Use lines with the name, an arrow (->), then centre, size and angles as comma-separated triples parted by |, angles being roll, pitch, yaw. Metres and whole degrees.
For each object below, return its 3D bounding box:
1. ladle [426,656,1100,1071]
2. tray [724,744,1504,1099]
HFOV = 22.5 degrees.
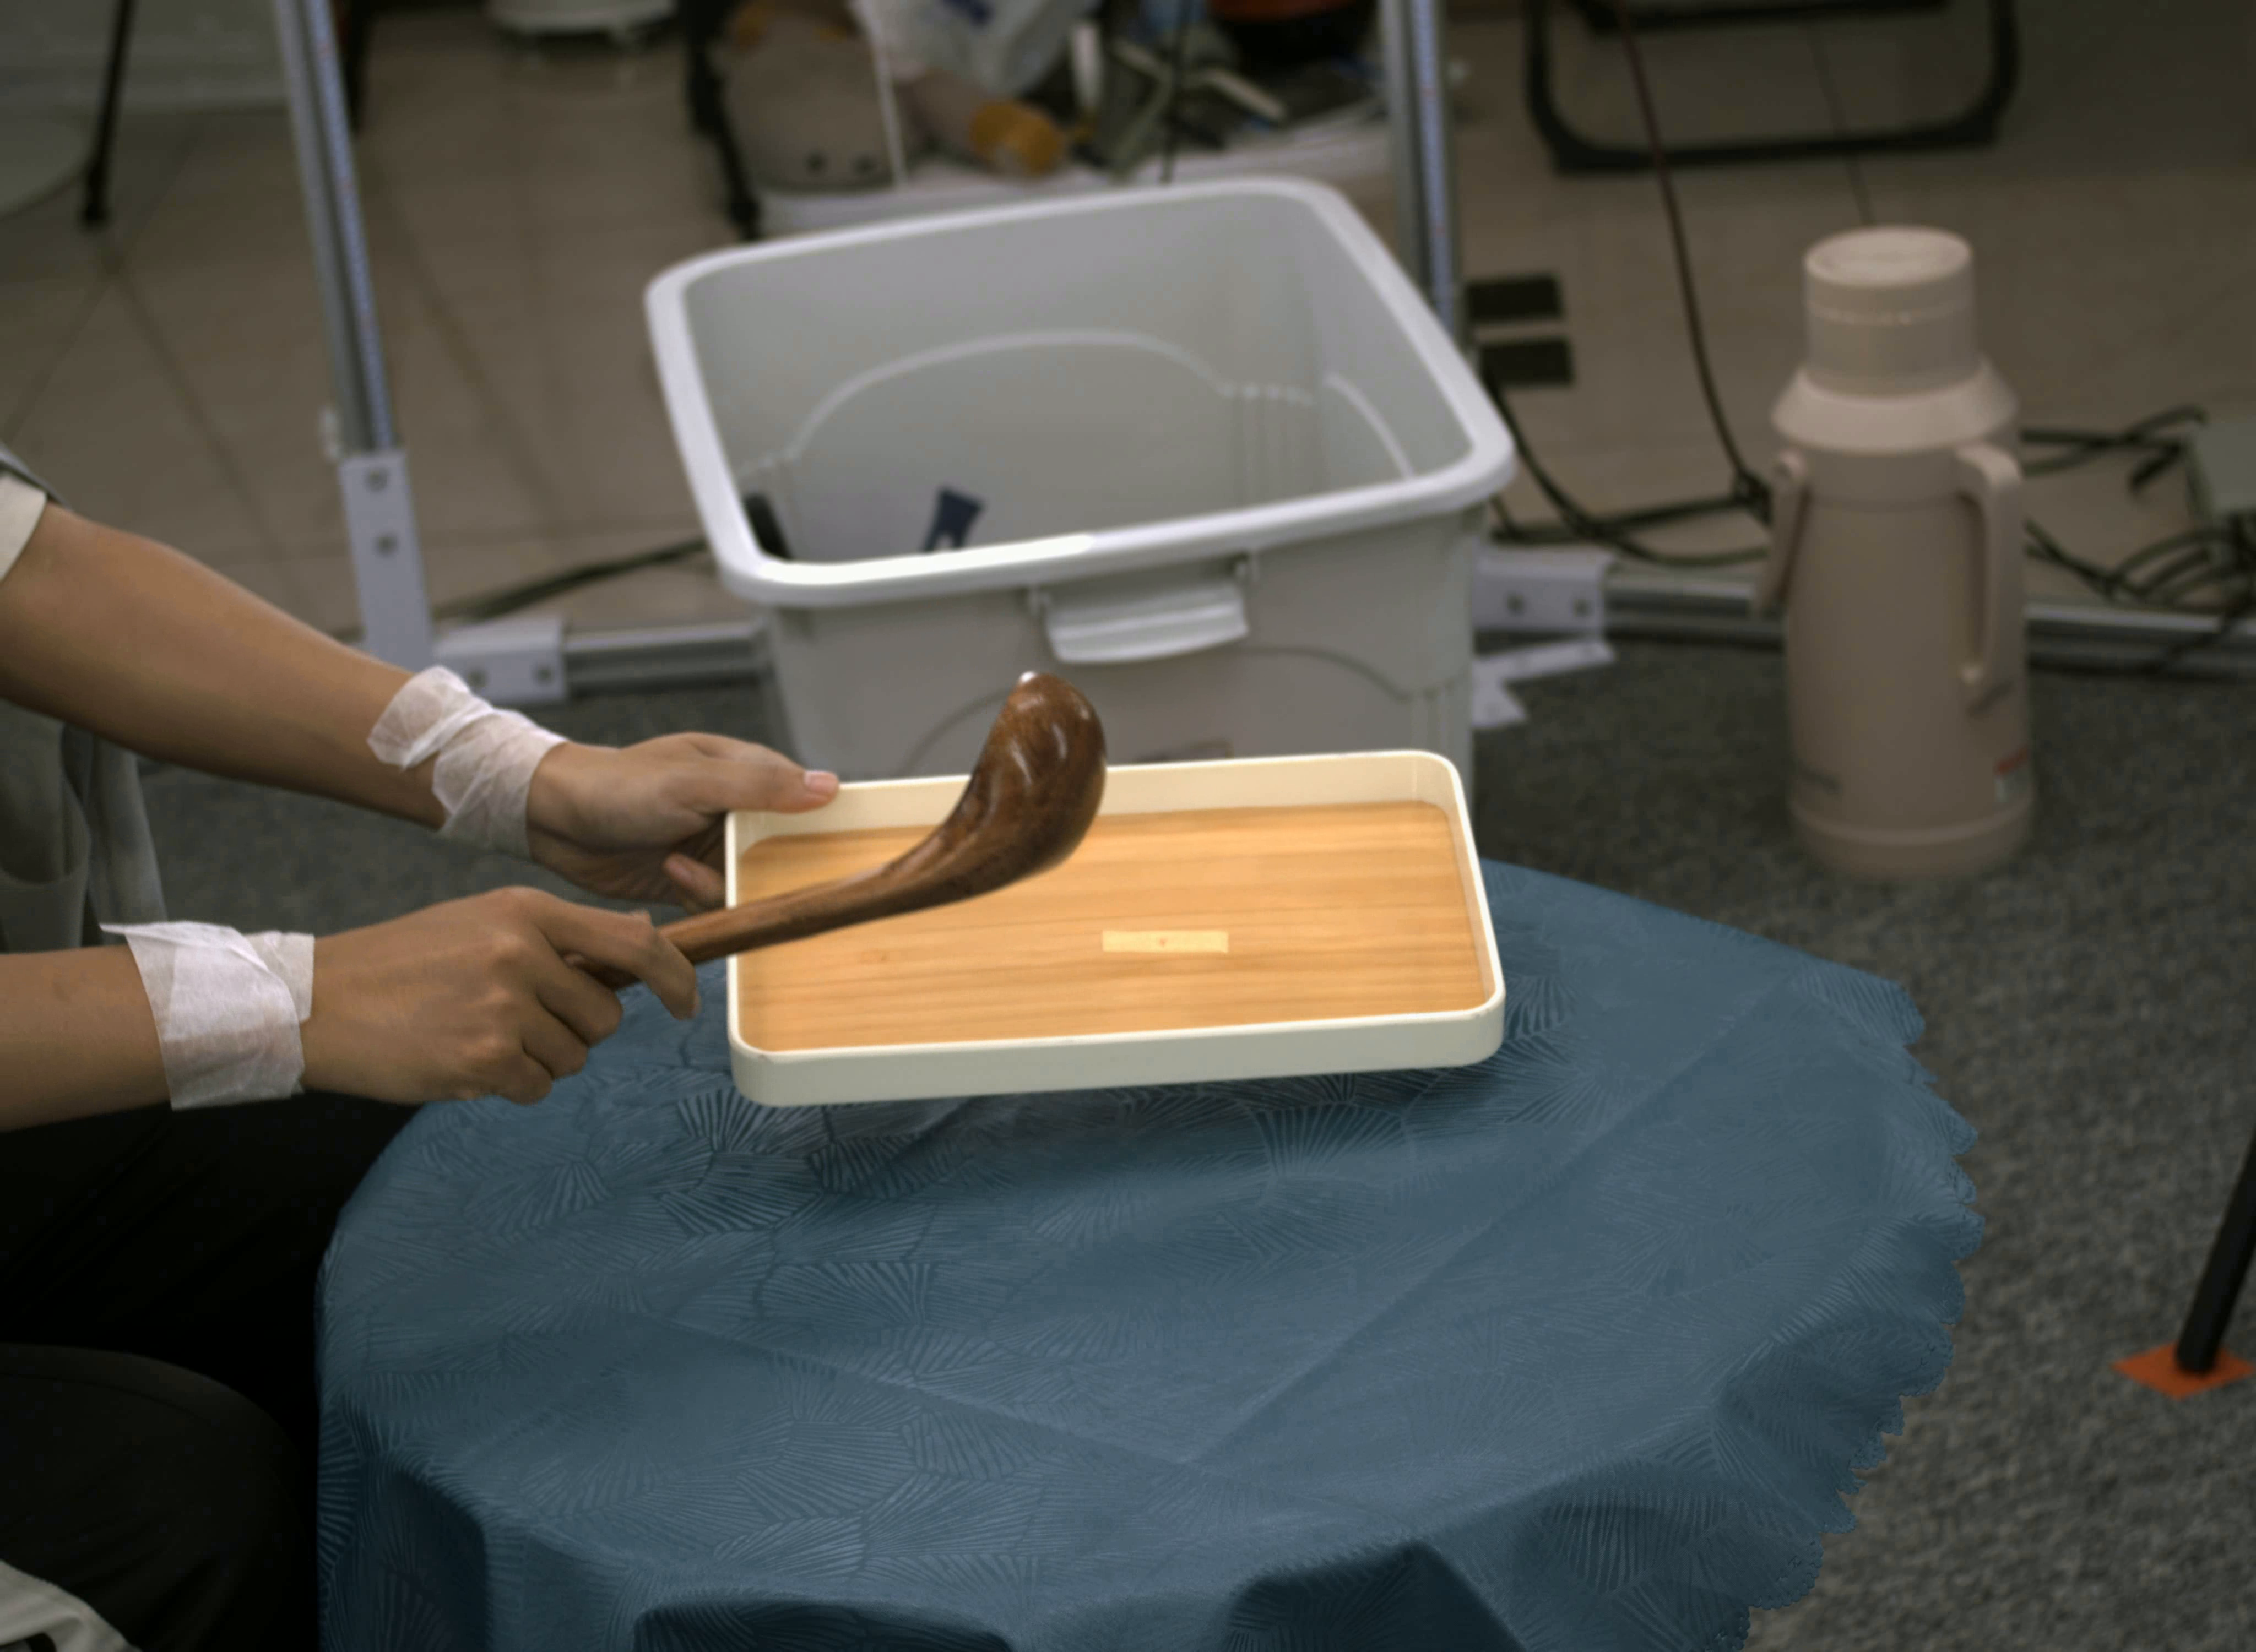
ladle -> -0.137, 0.012, 2.107 | 0.273, 0.083, 0.075 | -19, 46, -2
tray -> -0.009, 0.036, 2.242 | 0.300, 0.028, 0.188 | -3, 35, -2
